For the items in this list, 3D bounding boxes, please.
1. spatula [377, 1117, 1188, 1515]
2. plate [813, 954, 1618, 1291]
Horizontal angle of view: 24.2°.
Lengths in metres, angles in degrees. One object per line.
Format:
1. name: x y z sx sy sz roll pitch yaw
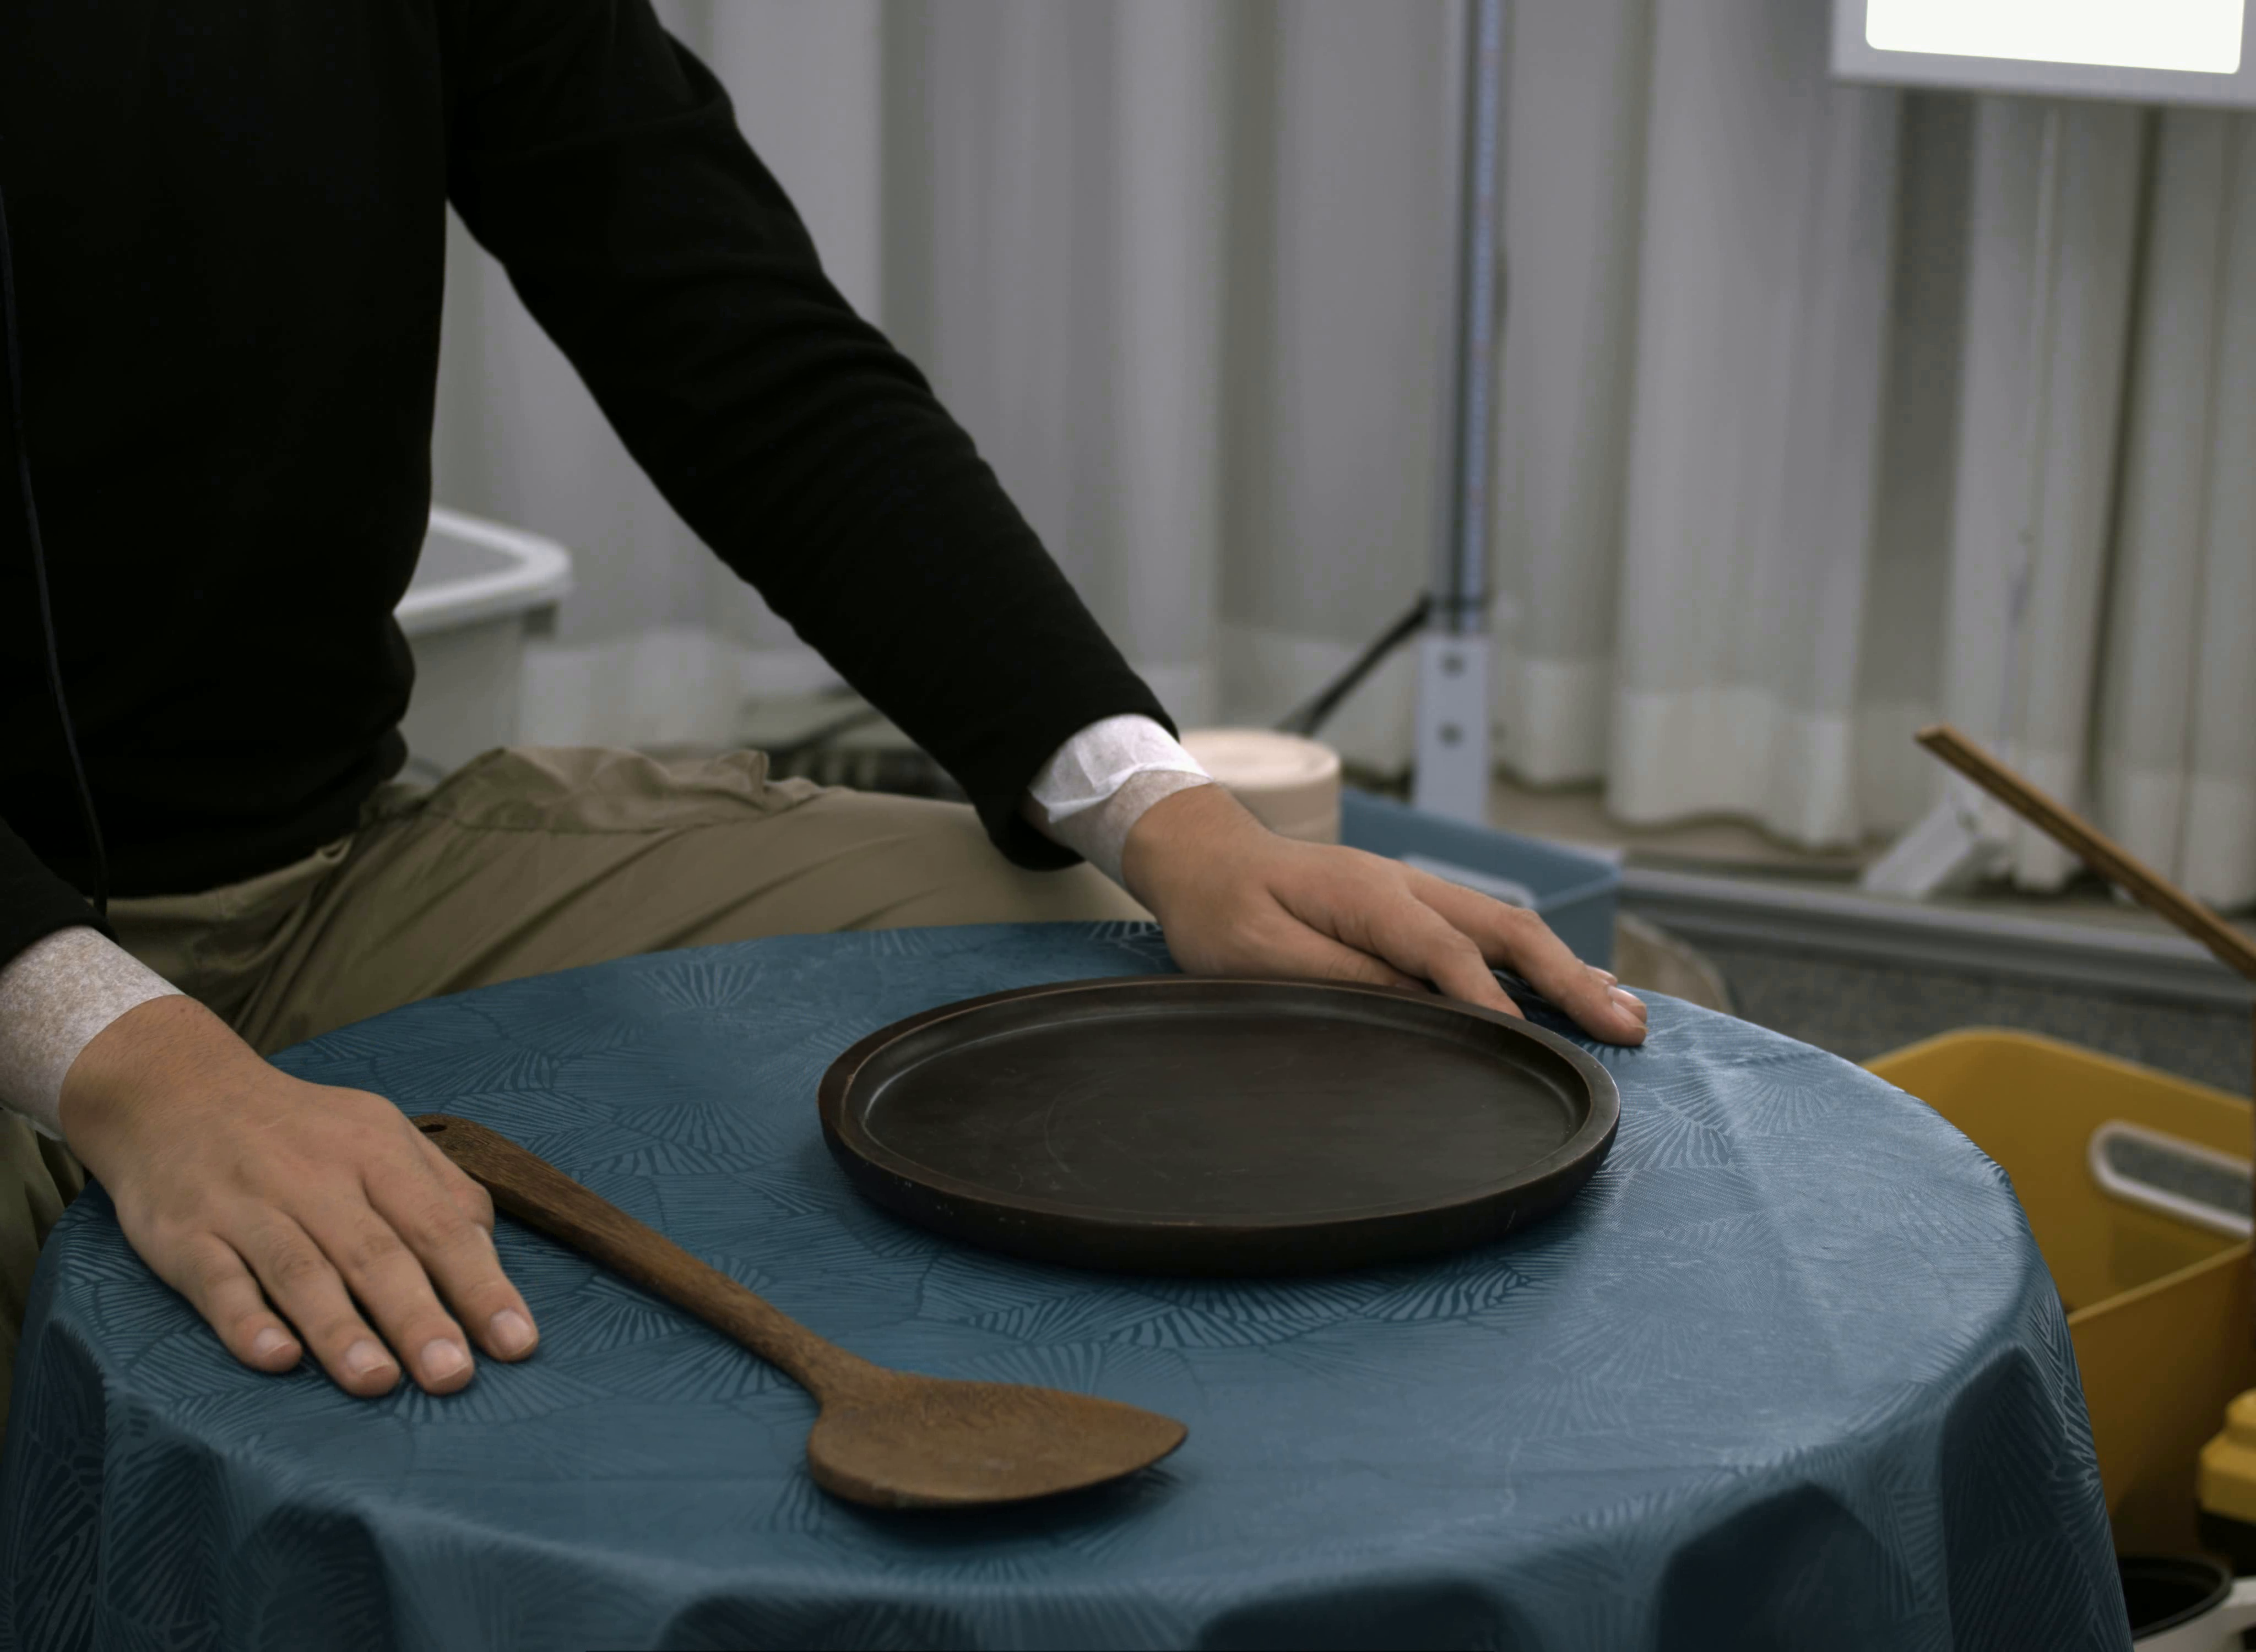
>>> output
1. spatula: -0.122 0.134 1.511 0.096 0.016 0.381 -9 18 -34
2. plate: 0.027 0.093 1.651 0.254 0.029 0.253 0 17 0
